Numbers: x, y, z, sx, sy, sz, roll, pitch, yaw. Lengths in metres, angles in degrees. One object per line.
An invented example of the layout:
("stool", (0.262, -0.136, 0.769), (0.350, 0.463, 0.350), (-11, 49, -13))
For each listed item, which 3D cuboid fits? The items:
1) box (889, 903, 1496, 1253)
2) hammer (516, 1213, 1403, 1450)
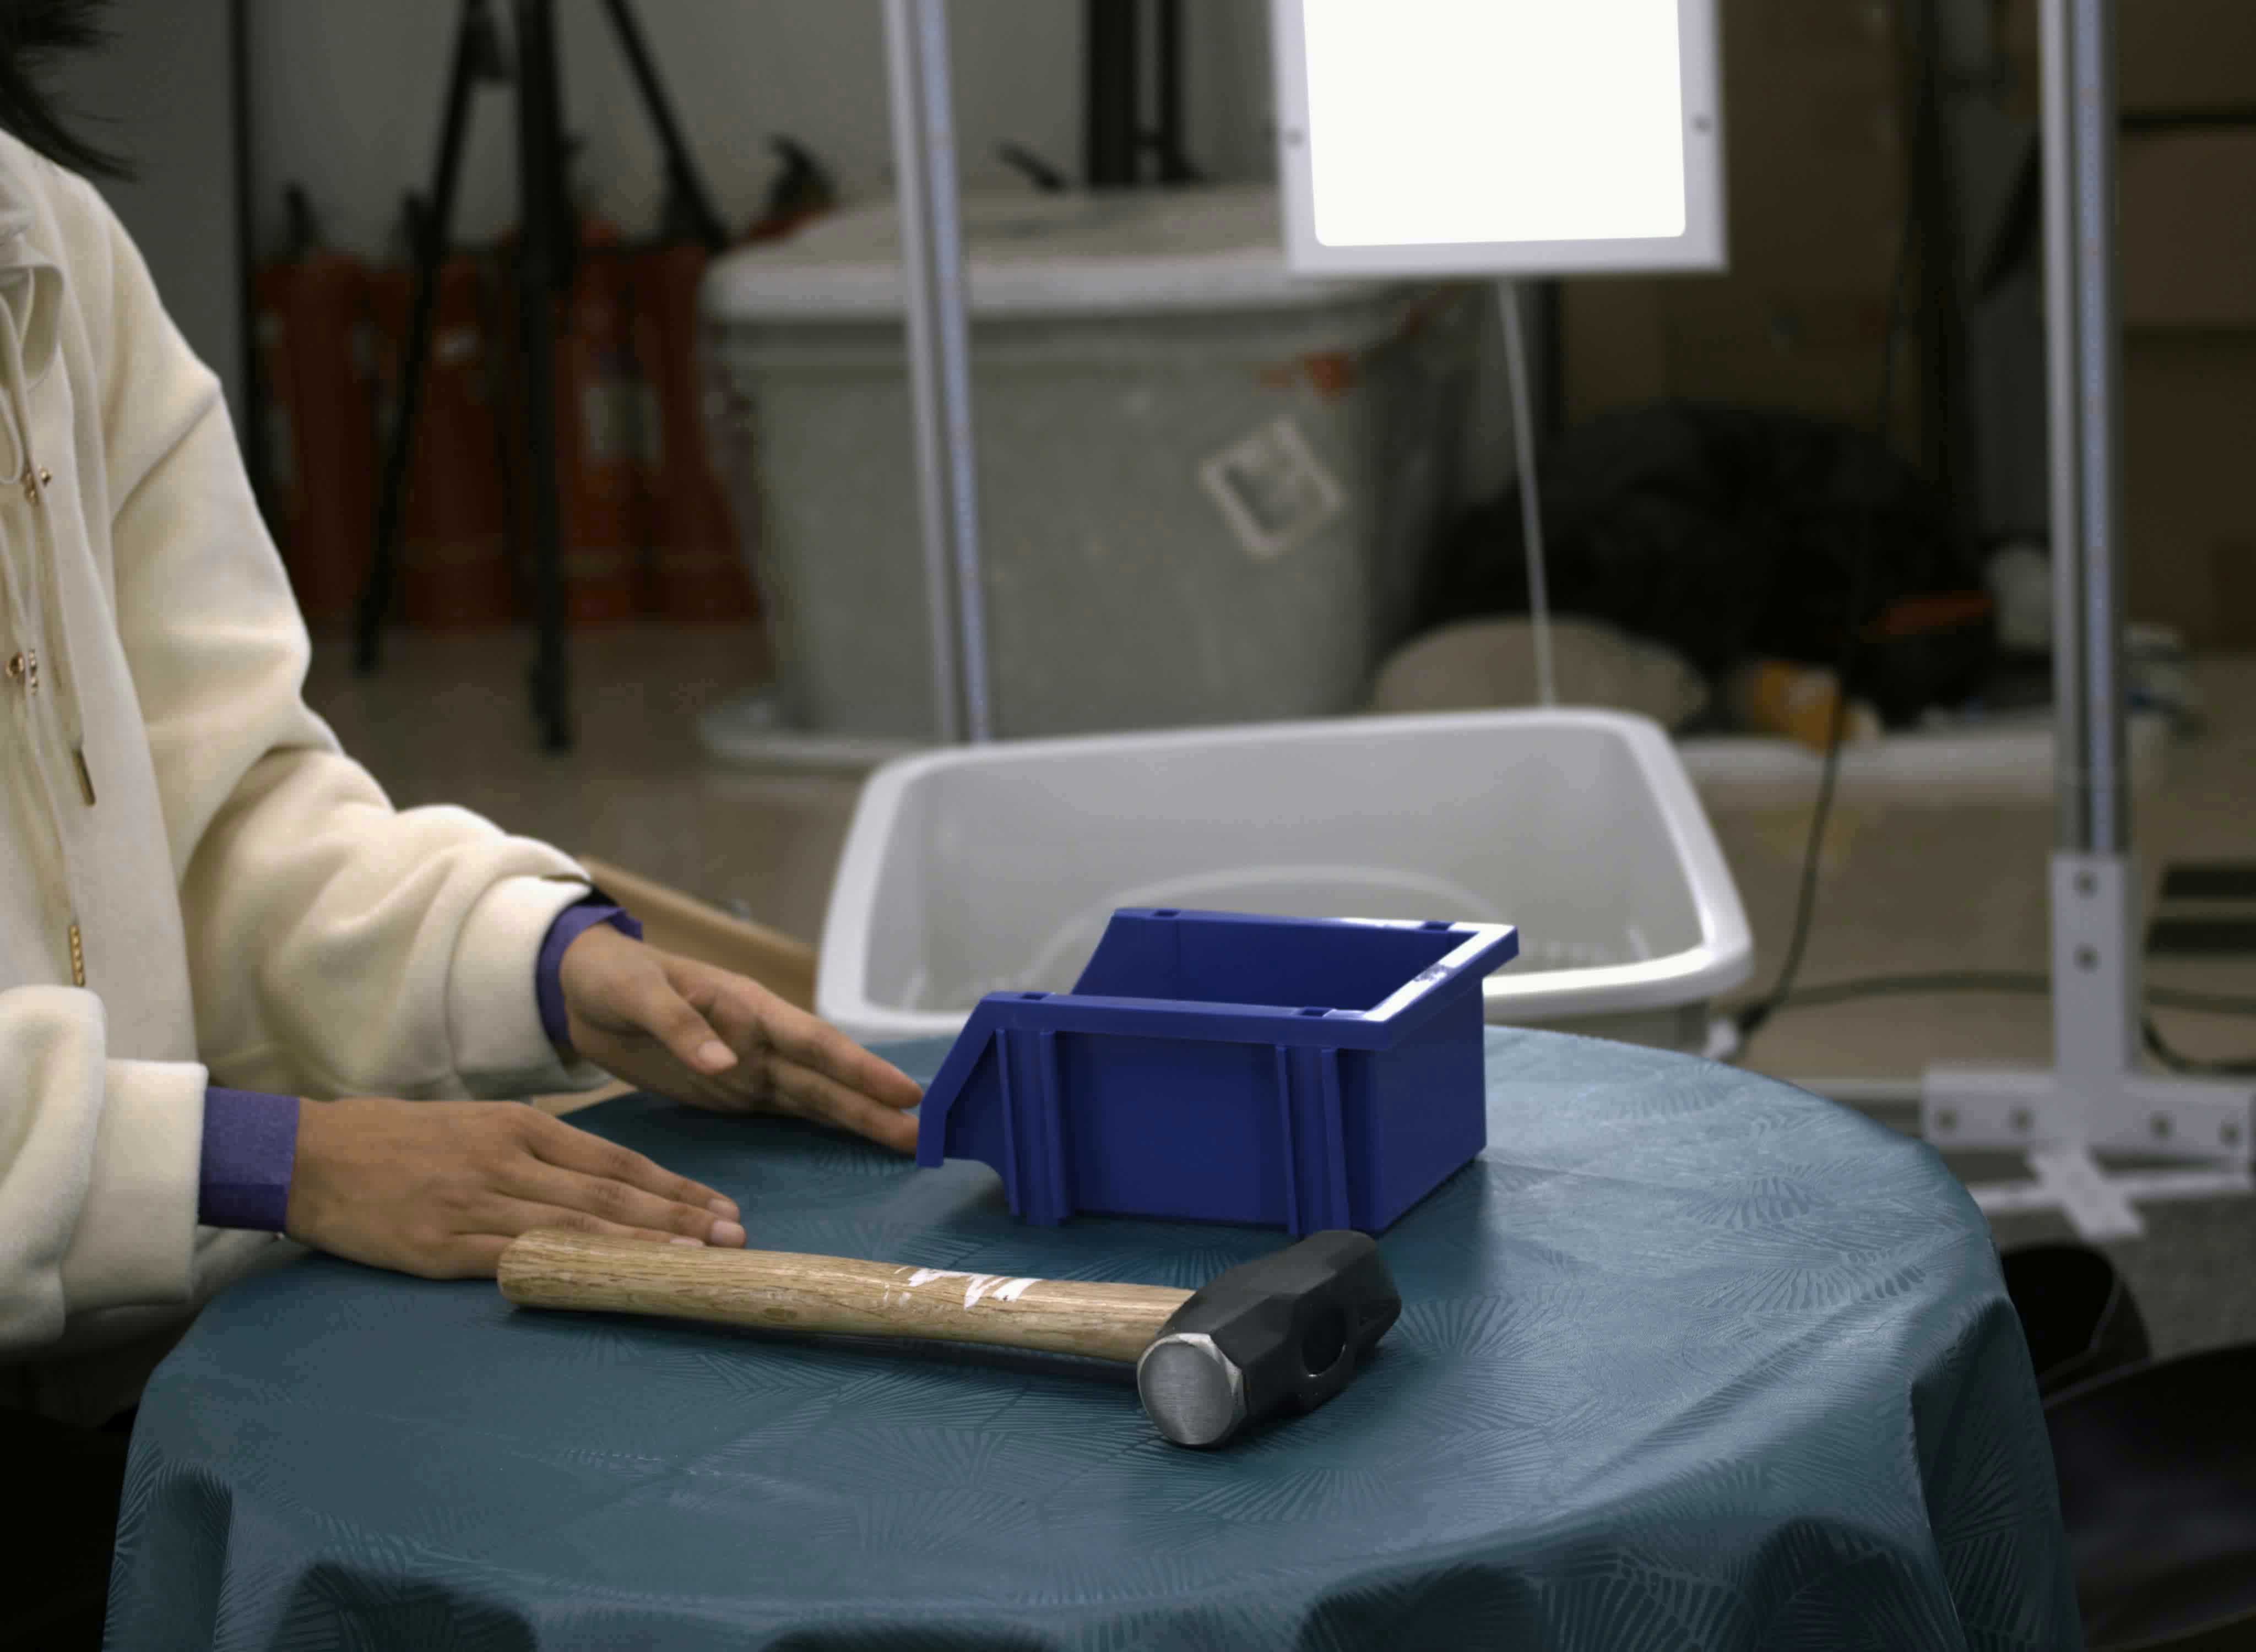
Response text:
("box", (0.022, 0.084, 1.894), (0.182, 0.082, 0.122), (5, 17, 28))
("hammer", (-0.068, 0.150, 1.757), (0.311, 0.038, 0.105), (3, 16, 35))
